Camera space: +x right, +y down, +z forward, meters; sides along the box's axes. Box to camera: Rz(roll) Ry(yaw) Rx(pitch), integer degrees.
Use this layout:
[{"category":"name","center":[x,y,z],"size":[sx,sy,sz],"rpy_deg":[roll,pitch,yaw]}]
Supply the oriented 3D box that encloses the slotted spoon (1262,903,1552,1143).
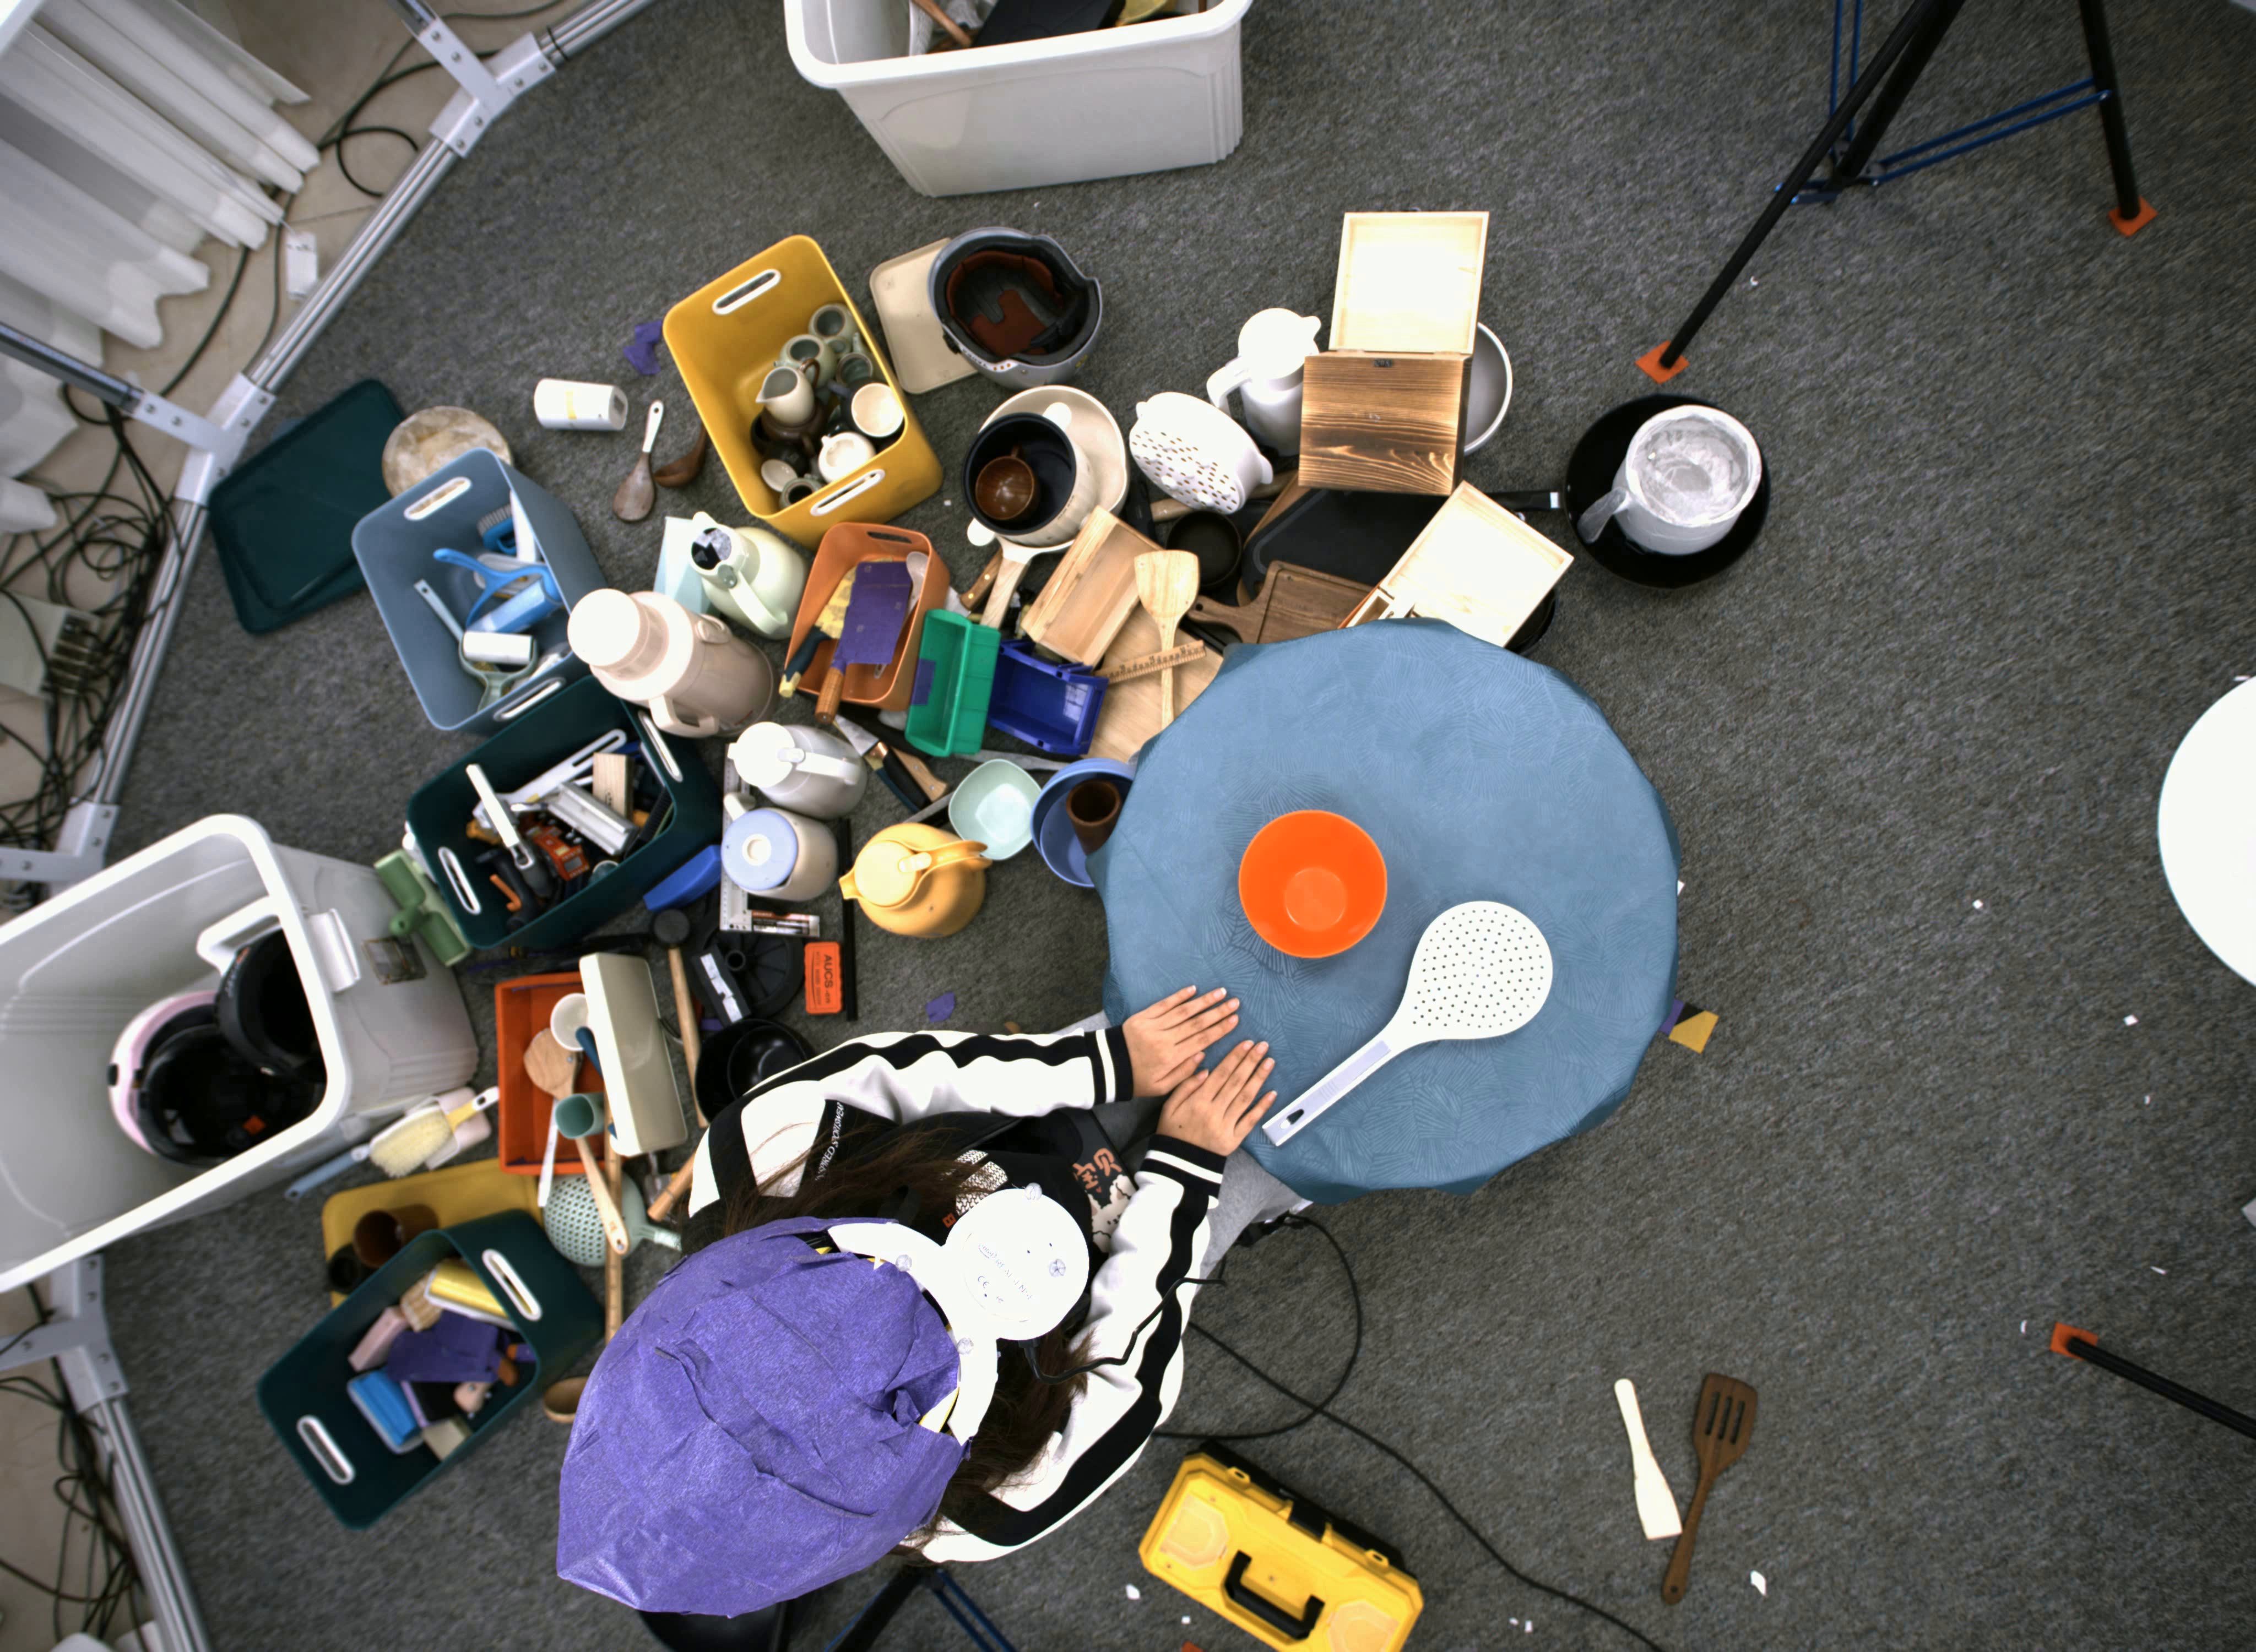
[{"category":"slotted spoon","center":[0.281,0.214,1.428],"size":[0.351,0.046,0.135],"rpy_deg":[-39,79,7]}]

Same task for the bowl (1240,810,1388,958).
[{"category":"bowl","center":[0.191,0.062,1.425],"size":[0.148,0.105,0.147],"rpy_deg":[-1,86,8]}]
